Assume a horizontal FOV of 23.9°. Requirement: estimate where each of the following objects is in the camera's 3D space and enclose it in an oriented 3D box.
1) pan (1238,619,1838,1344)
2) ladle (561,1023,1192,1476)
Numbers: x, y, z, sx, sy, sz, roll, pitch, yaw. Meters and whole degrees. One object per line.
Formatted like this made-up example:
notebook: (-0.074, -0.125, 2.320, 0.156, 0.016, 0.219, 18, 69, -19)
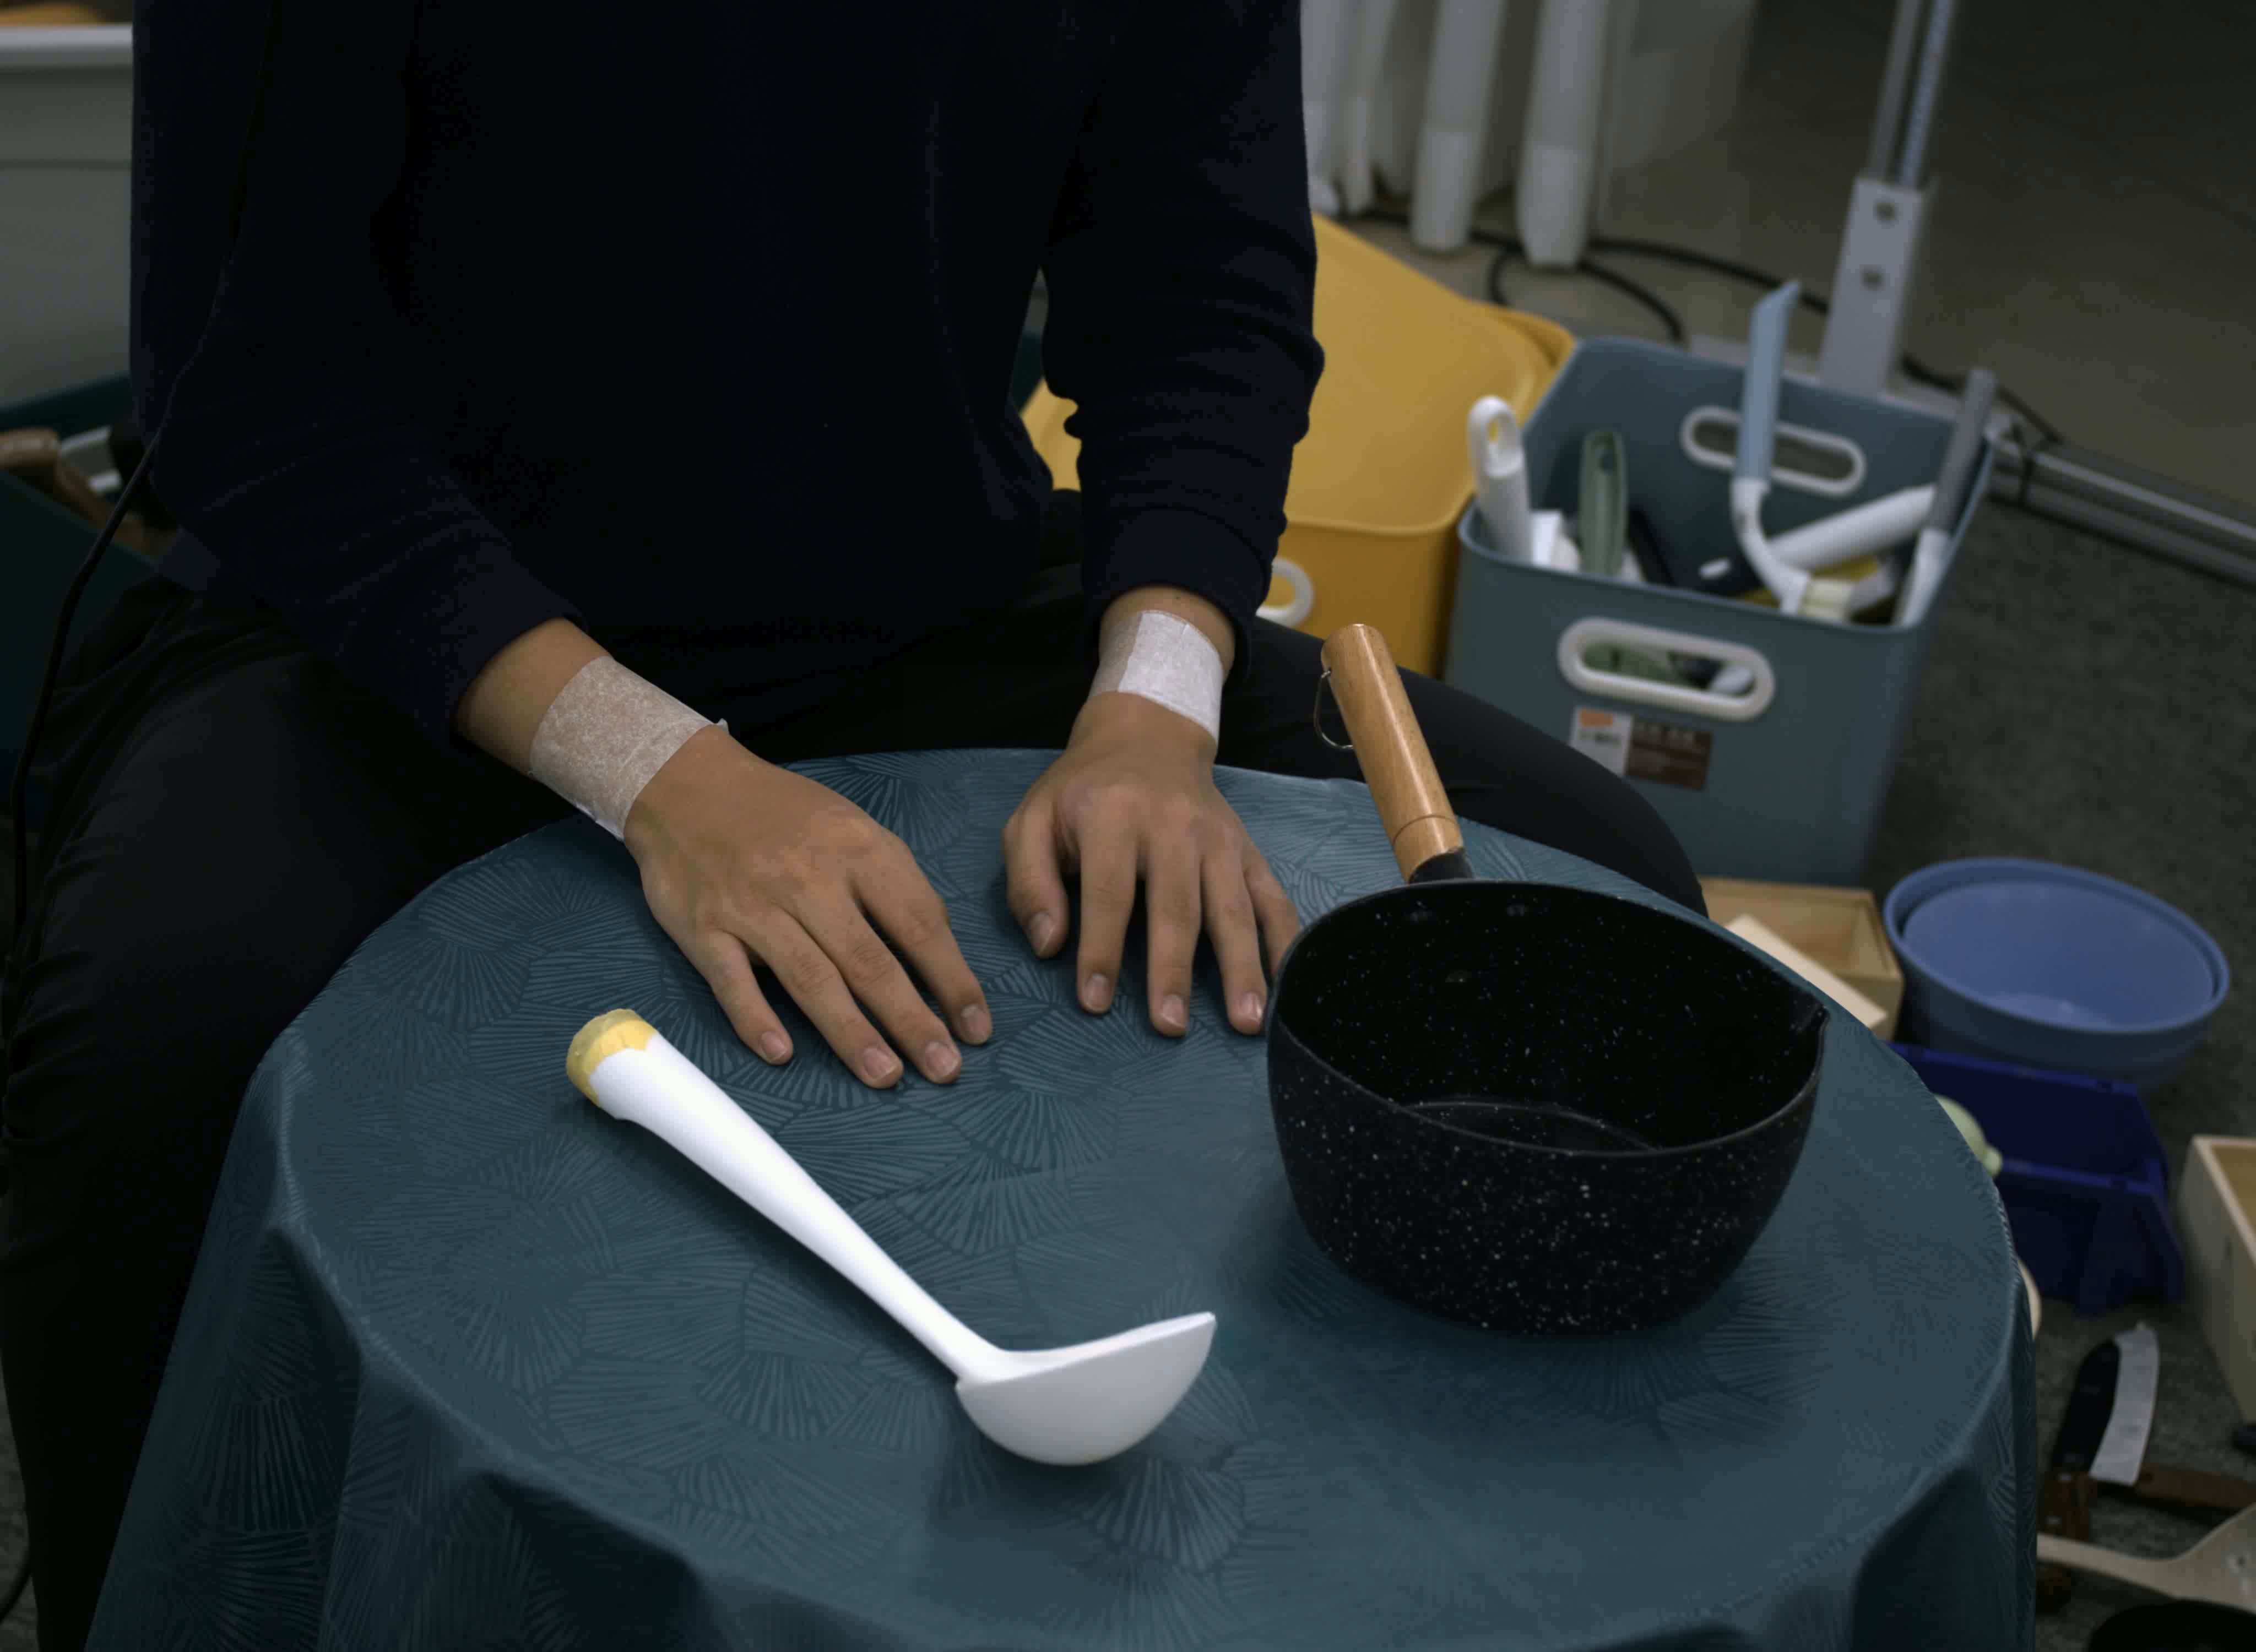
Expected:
pan: (0.117, 0.051, 1.853, 0.206, 0.108, 0.346, -3, 30, -15)
ladle: (-0.092, 0.124, 1.710, 0.090, 0.069, 0.295, -21, 37, -32)
